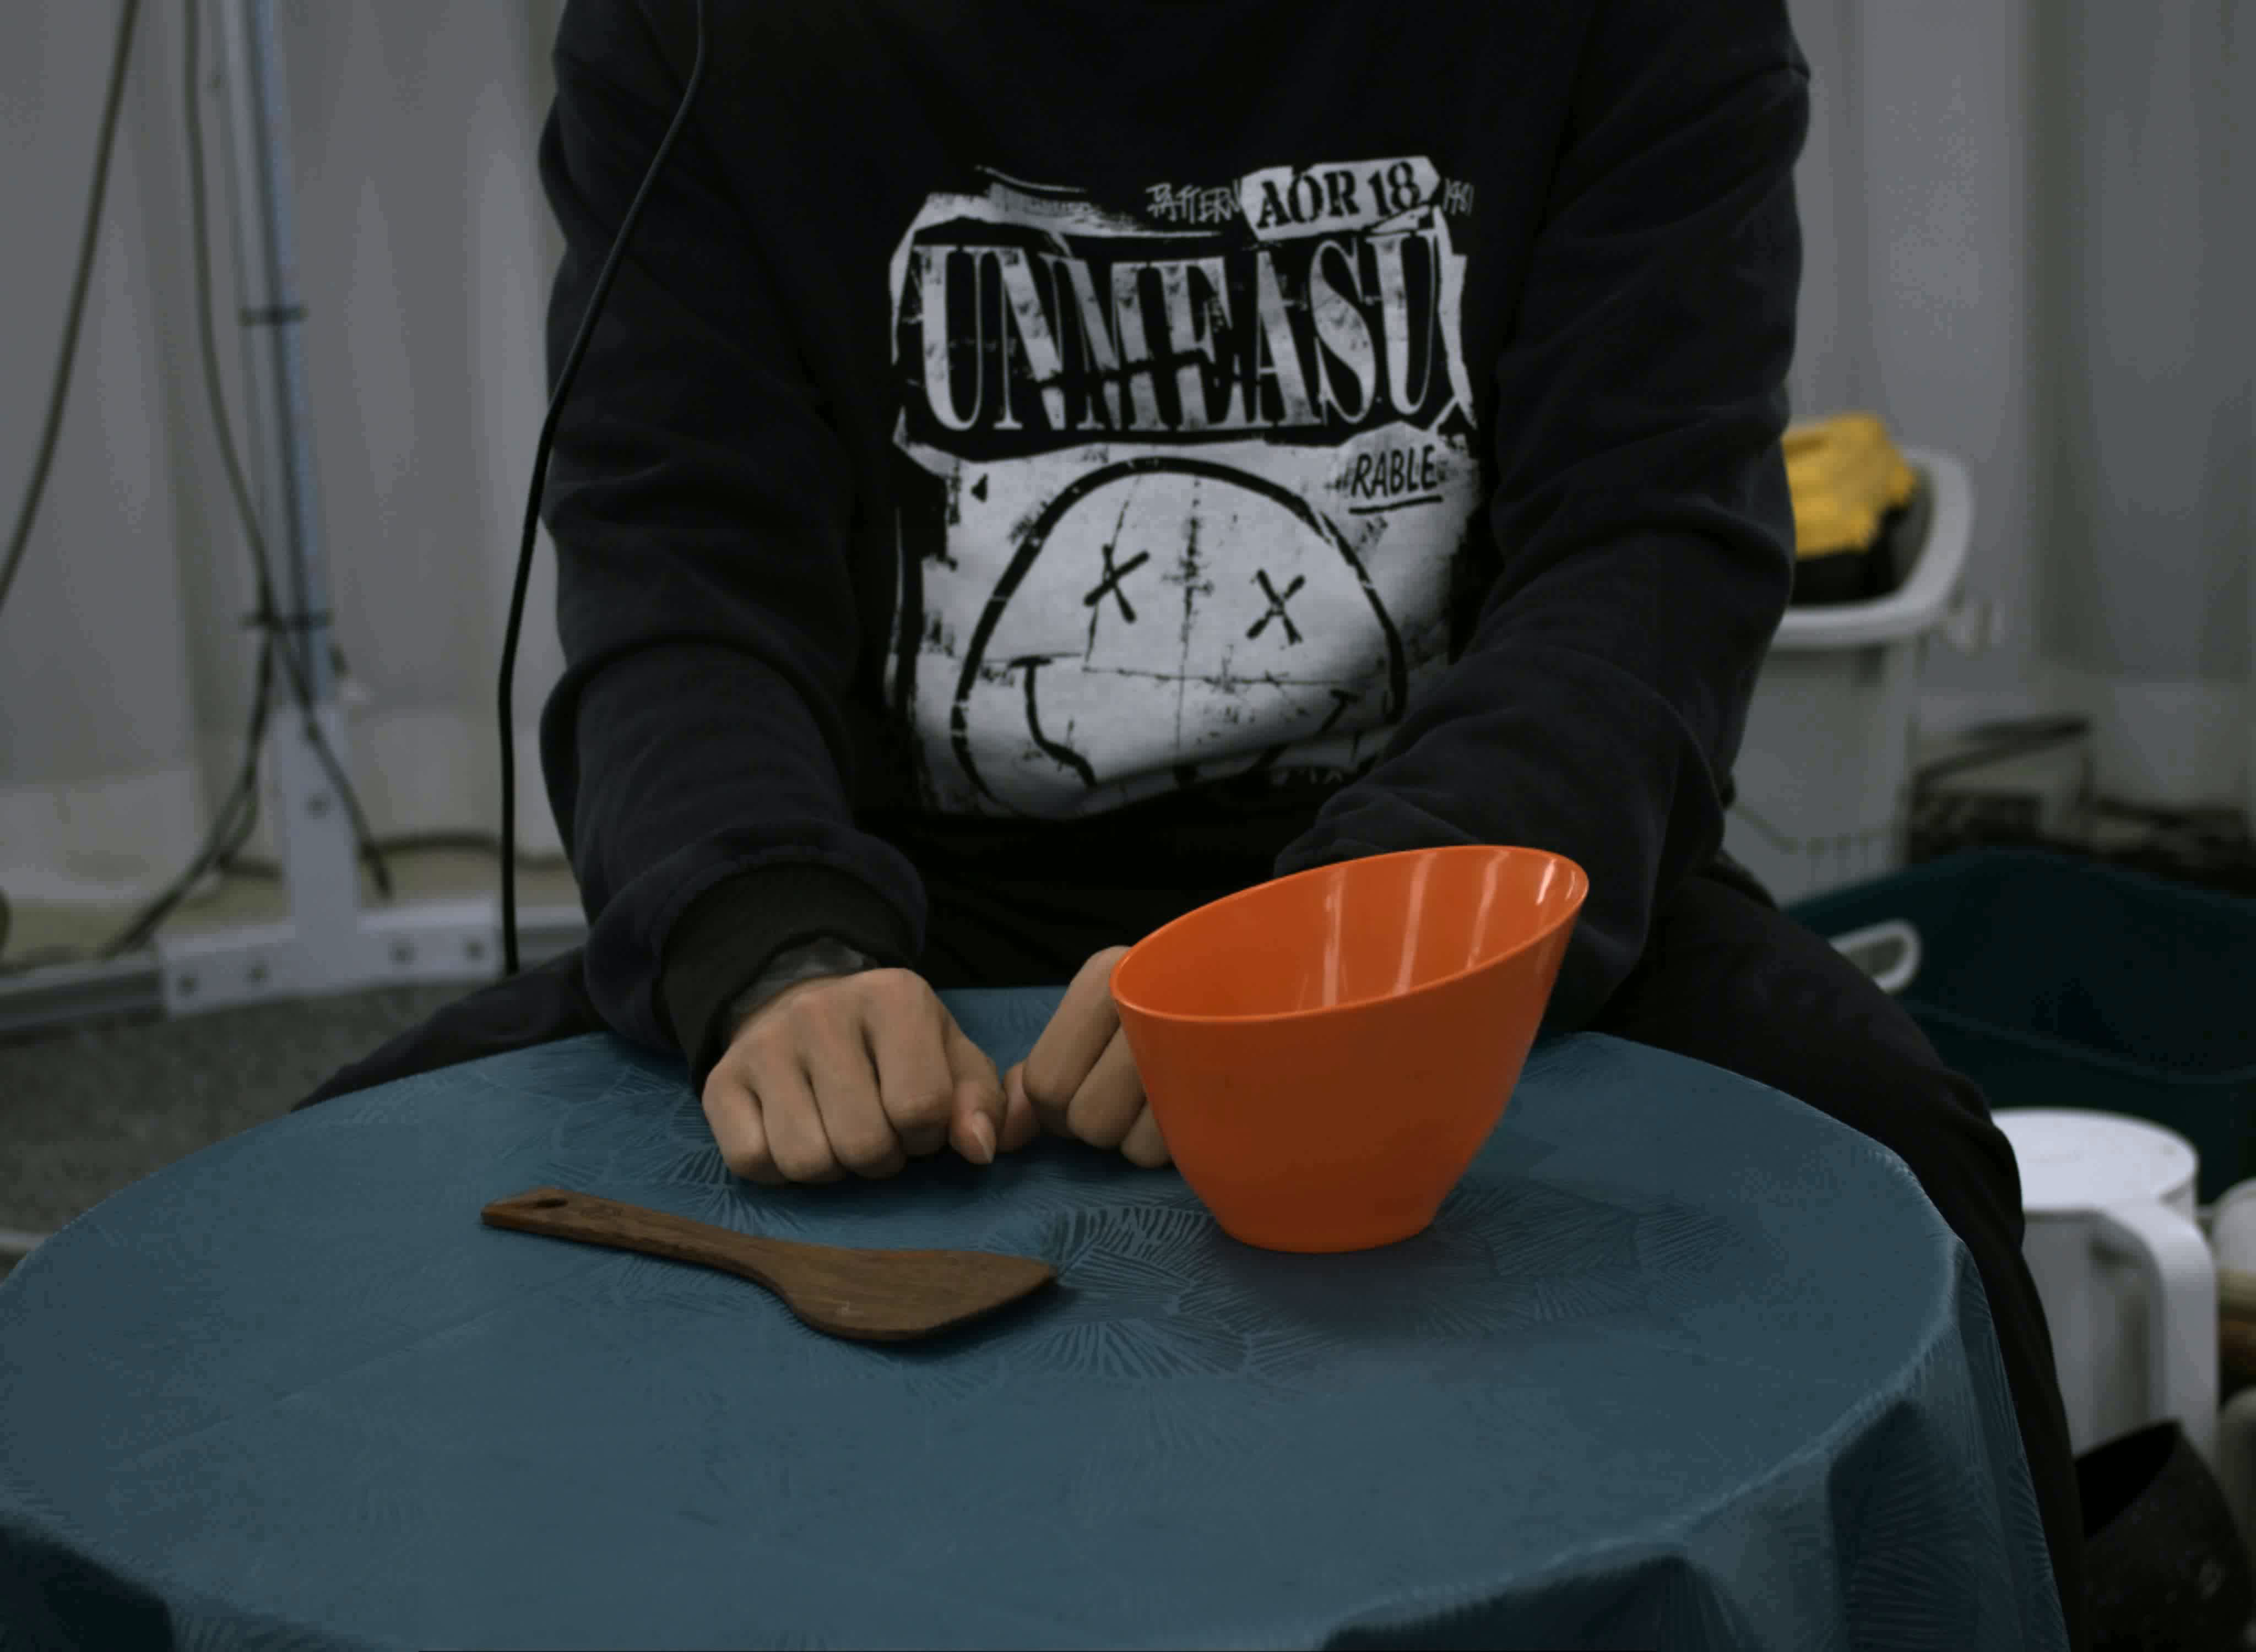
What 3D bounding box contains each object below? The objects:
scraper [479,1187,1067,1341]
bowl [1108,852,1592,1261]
[{"bbox_3d":[-0.116,0.131,1.662,0.212,0.011,0.076,8,17,38],"label":"scraper"},{"bbox_3d":[0.069,0.072,1.666,0.147,0.104,0.149,-3,15,0],"label":"bowl"}]
